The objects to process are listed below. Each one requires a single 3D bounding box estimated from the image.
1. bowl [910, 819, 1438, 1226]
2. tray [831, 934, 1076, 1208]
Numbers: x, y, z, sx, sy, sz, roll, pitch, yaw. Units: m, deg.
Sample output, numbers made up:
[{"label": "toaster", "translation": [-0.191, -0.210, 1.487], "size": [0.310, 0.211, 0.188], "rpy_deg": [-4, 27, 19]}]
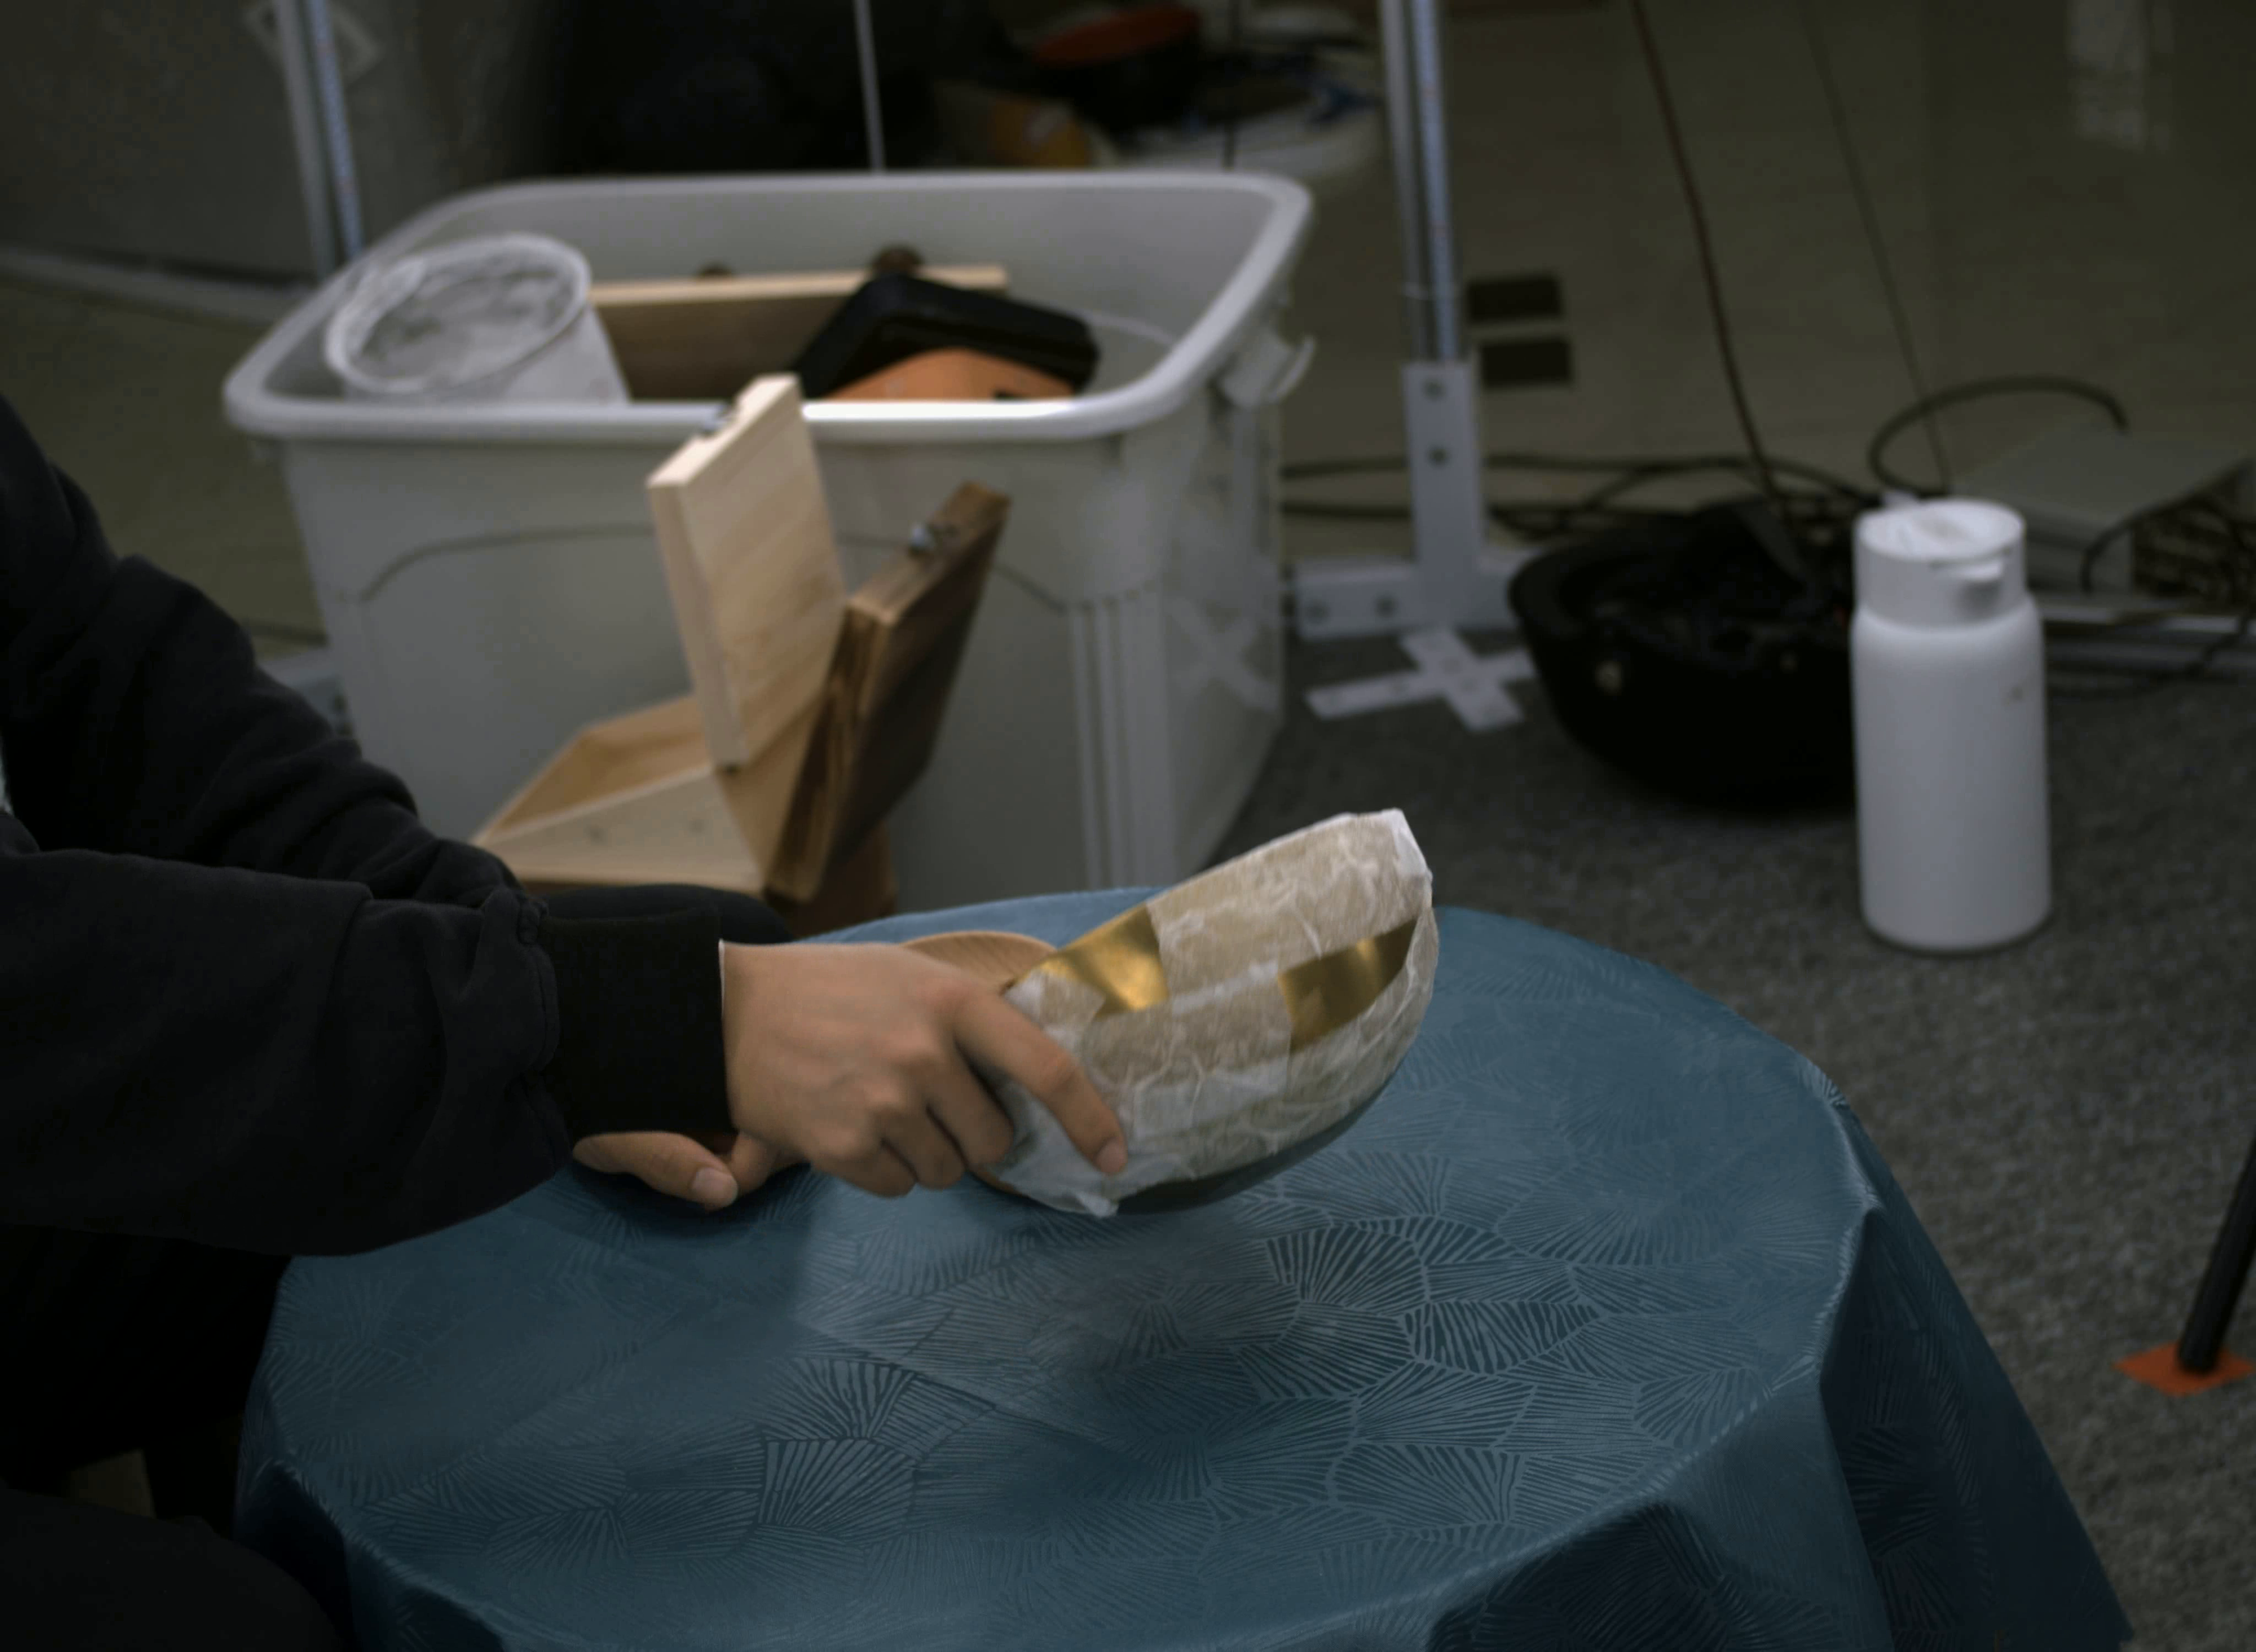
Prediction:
[{"label": "bowl", "translation": [0.029, 0.086, 2.033], "size": [0.214, 0.094, 0.216], "rpy_deg": [-27, -8, -4]}, {"label": "tray", "translation": [-0.041, 0.095, 2.239], "size": [0.101, 0.020, 0.228], "rpy_deg": [-19, 29, -20]}]
